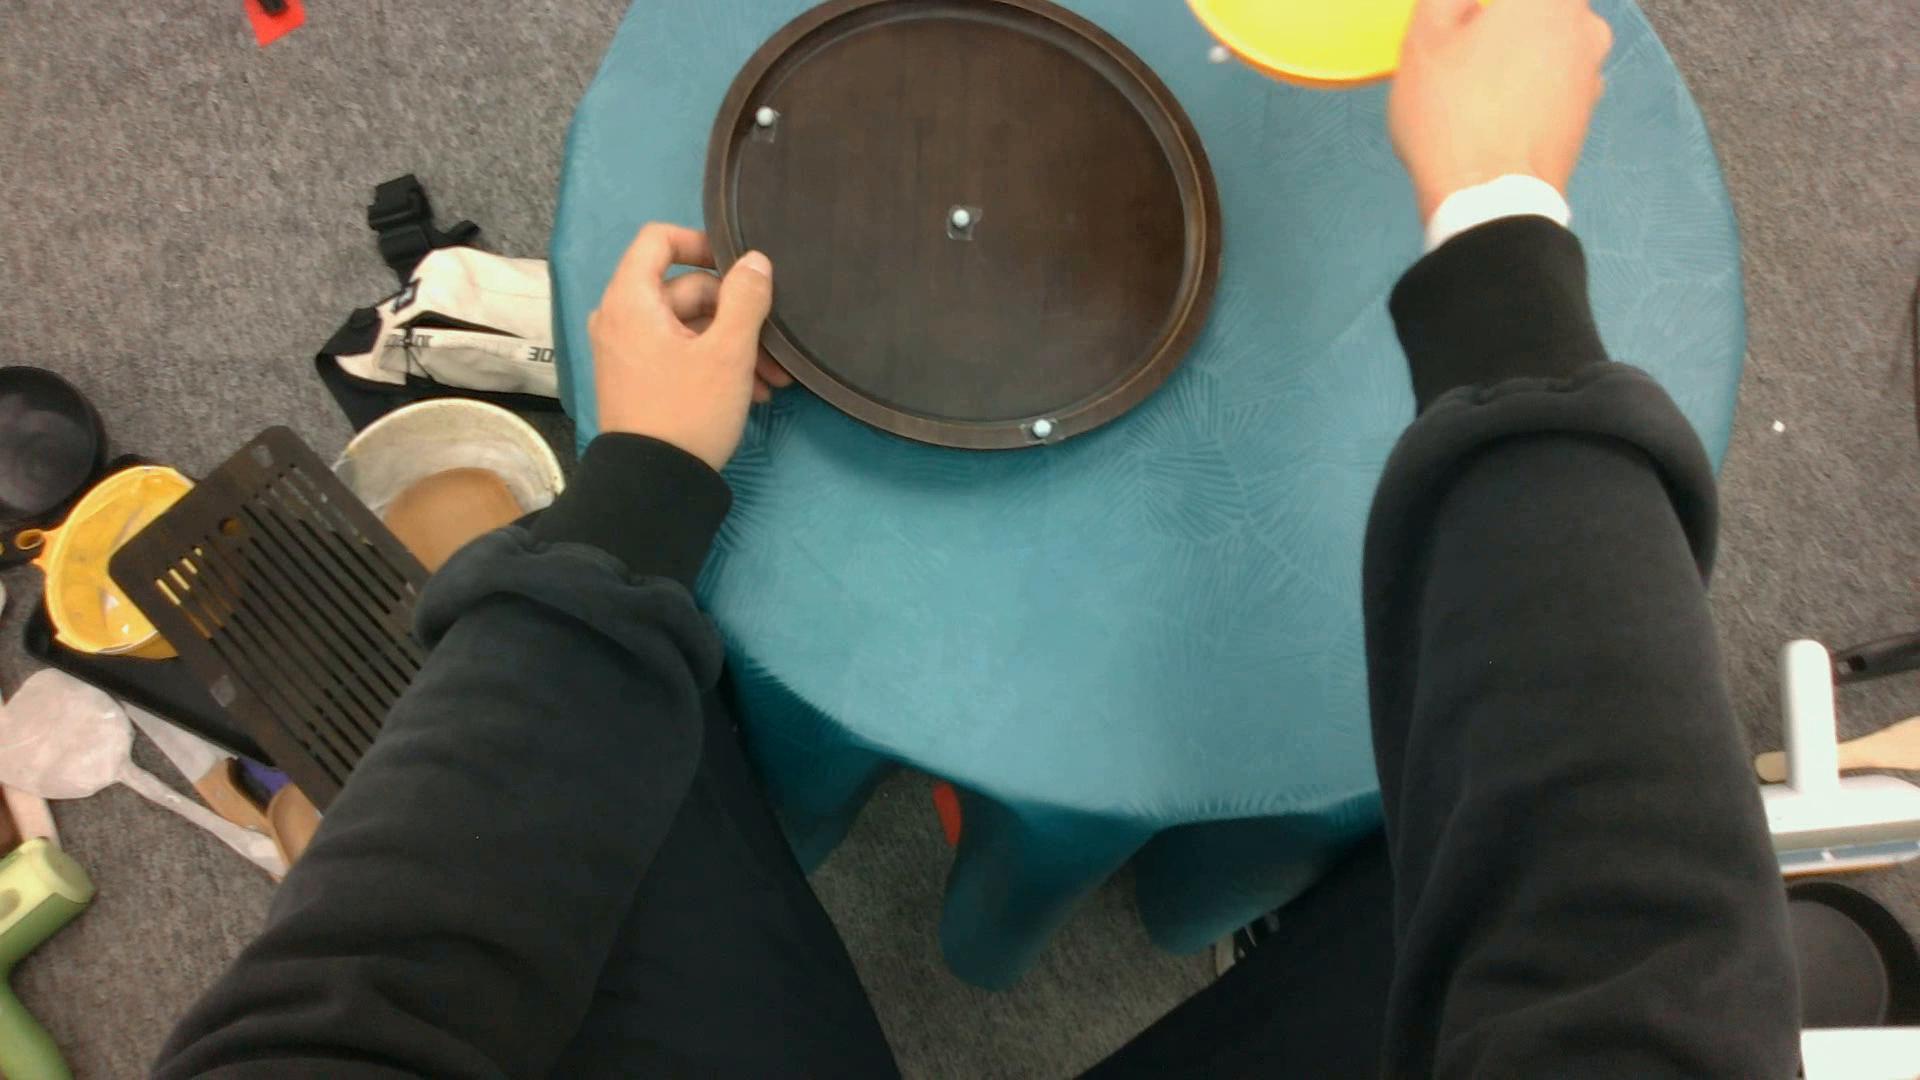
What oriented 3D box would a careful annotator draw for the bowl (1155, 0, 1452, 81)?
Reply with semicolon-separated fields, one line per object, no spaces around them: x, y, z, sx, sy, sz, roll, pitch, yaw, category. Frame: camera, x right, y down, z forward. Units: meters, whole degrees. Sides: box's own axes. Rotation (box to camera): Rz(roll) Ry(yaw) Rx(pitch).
0.148;-0.259;0.594;0.145;0.060;0.145;-1;85;9;bowl

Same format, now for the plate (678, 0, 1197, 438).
-0.007;-0.166;0.666;0.255;0.029;0.255;4;73;-12;plate
